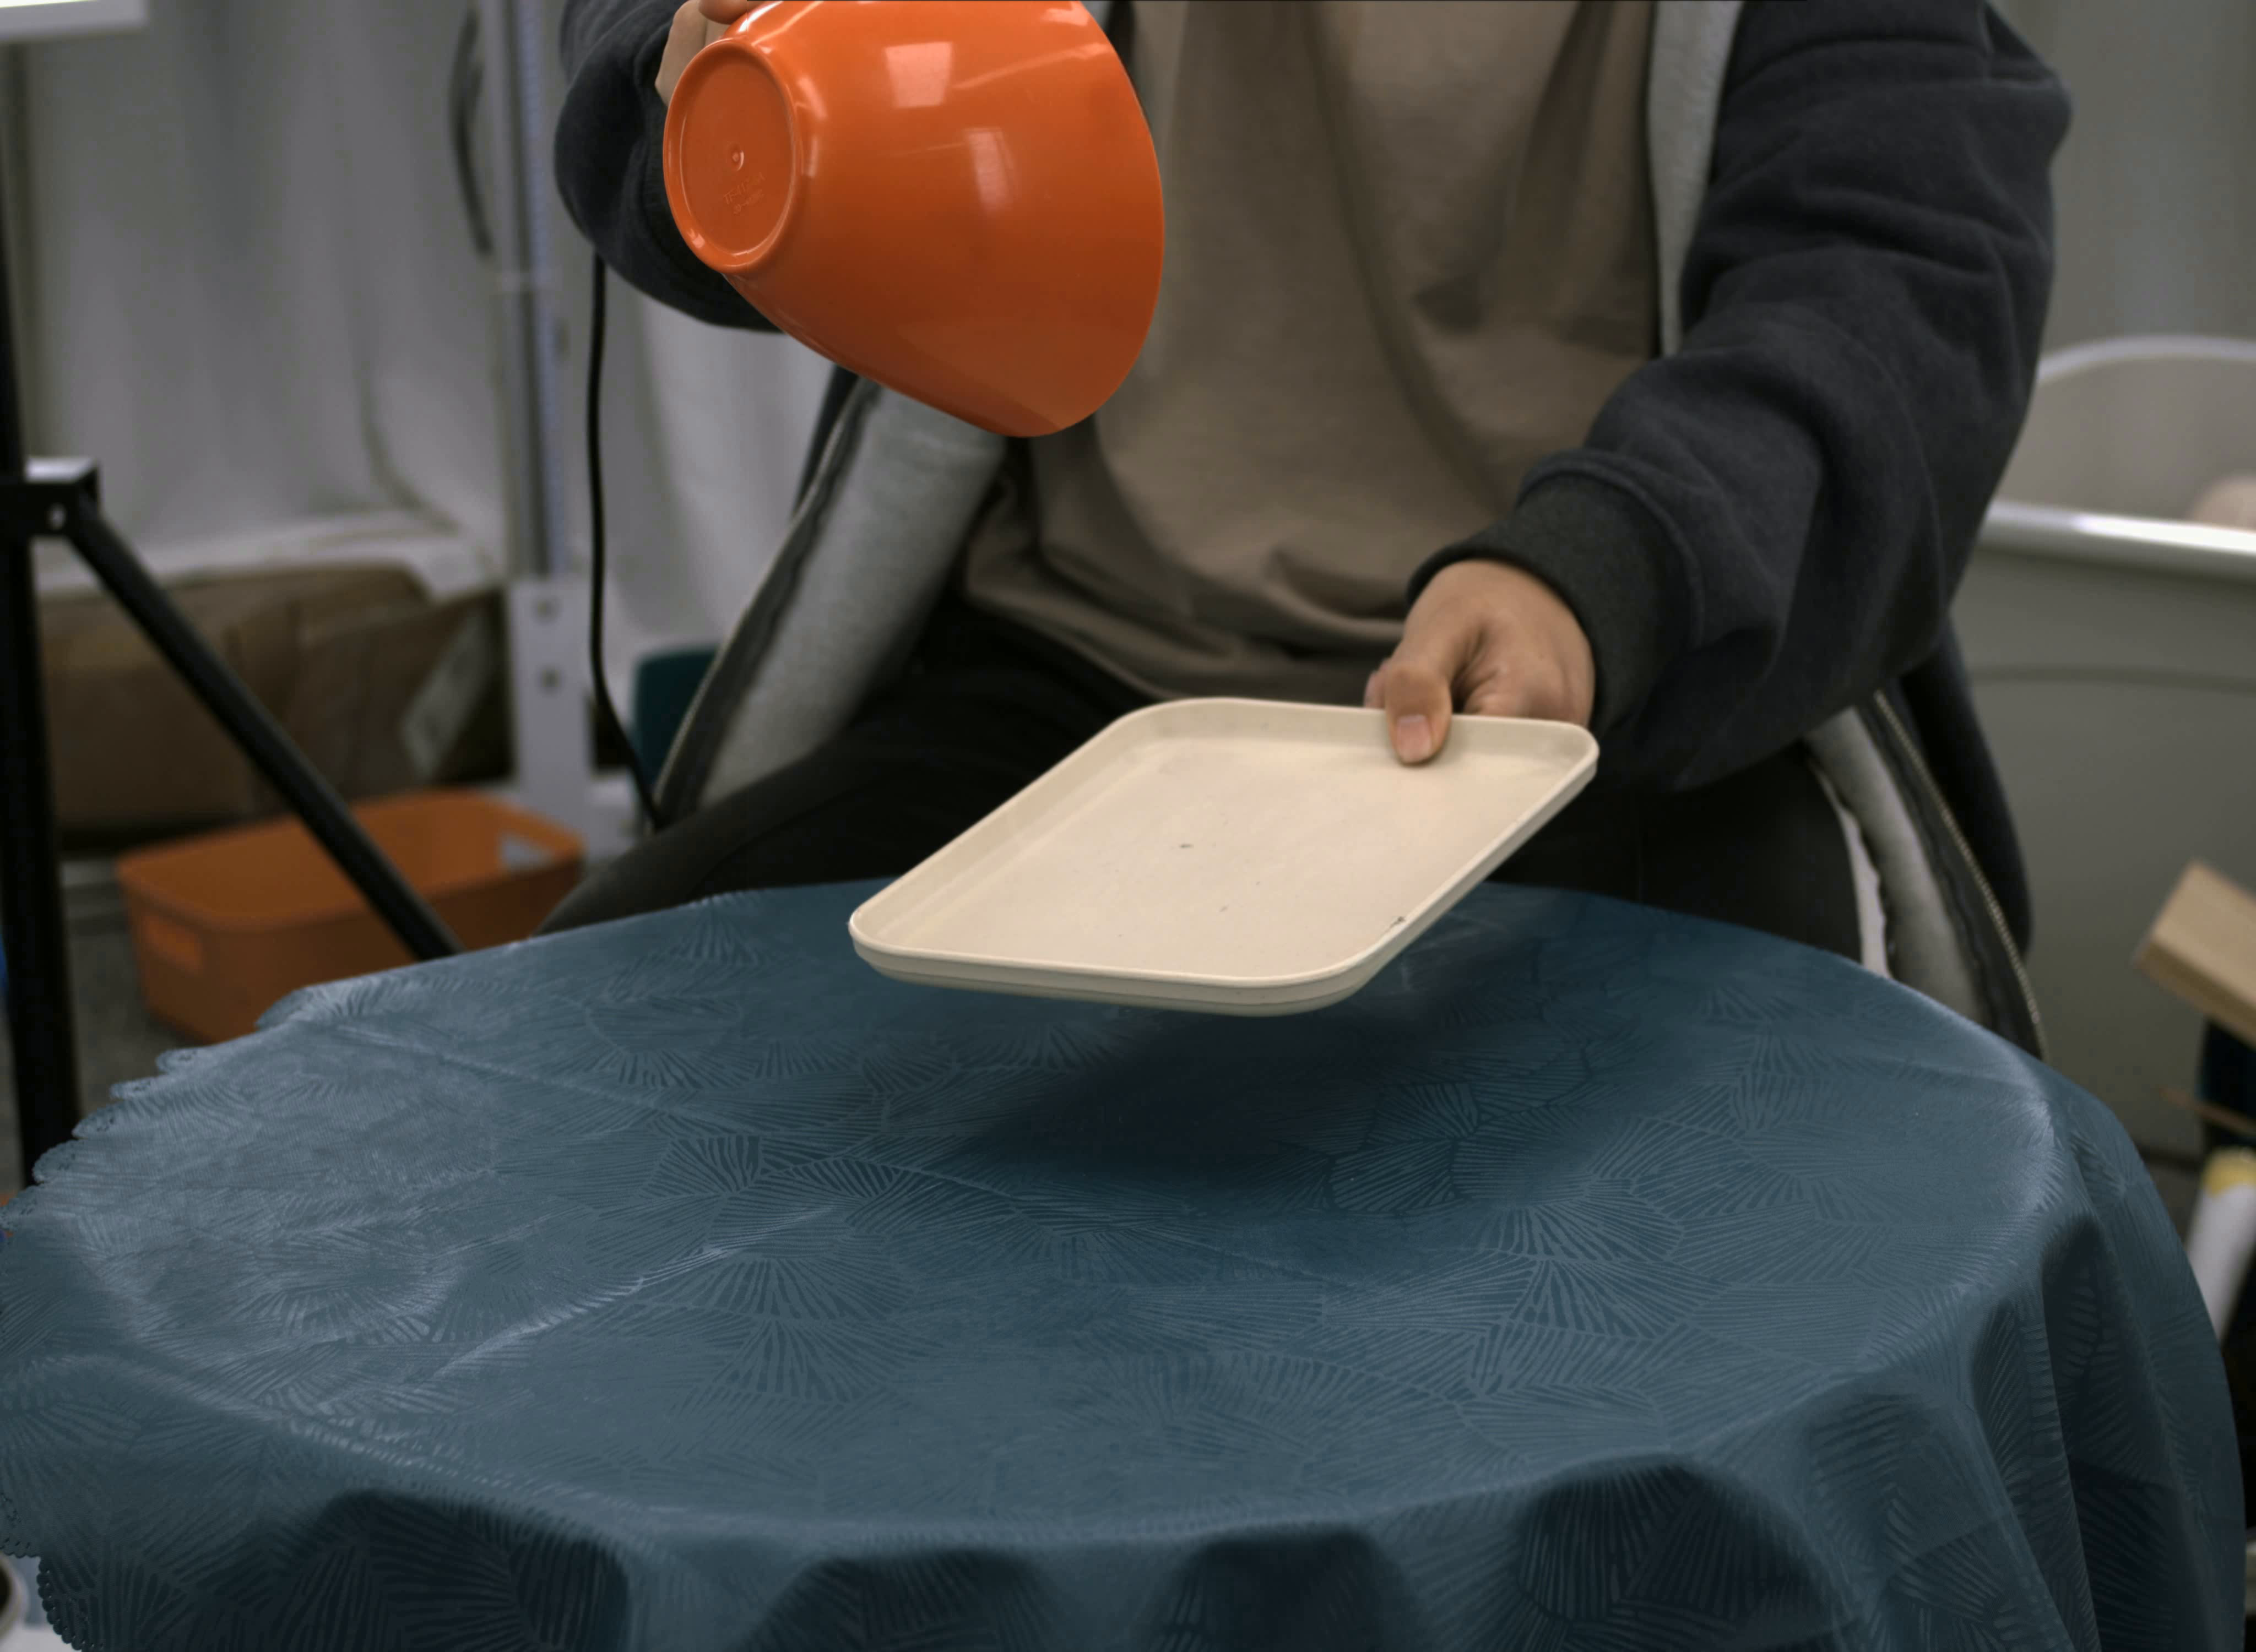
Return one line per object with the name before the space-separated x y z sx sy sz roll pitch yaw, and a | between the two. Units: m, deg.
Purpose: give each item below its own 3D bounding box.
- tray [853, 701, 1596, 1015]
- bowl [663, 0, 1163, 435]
tray | 0.034 0.009 1.645 0.174 0.017 0.236 4 21 27
bowl | -0.072 -0.187 1.558 0.102 0.148 0.151 -5 14 -39
